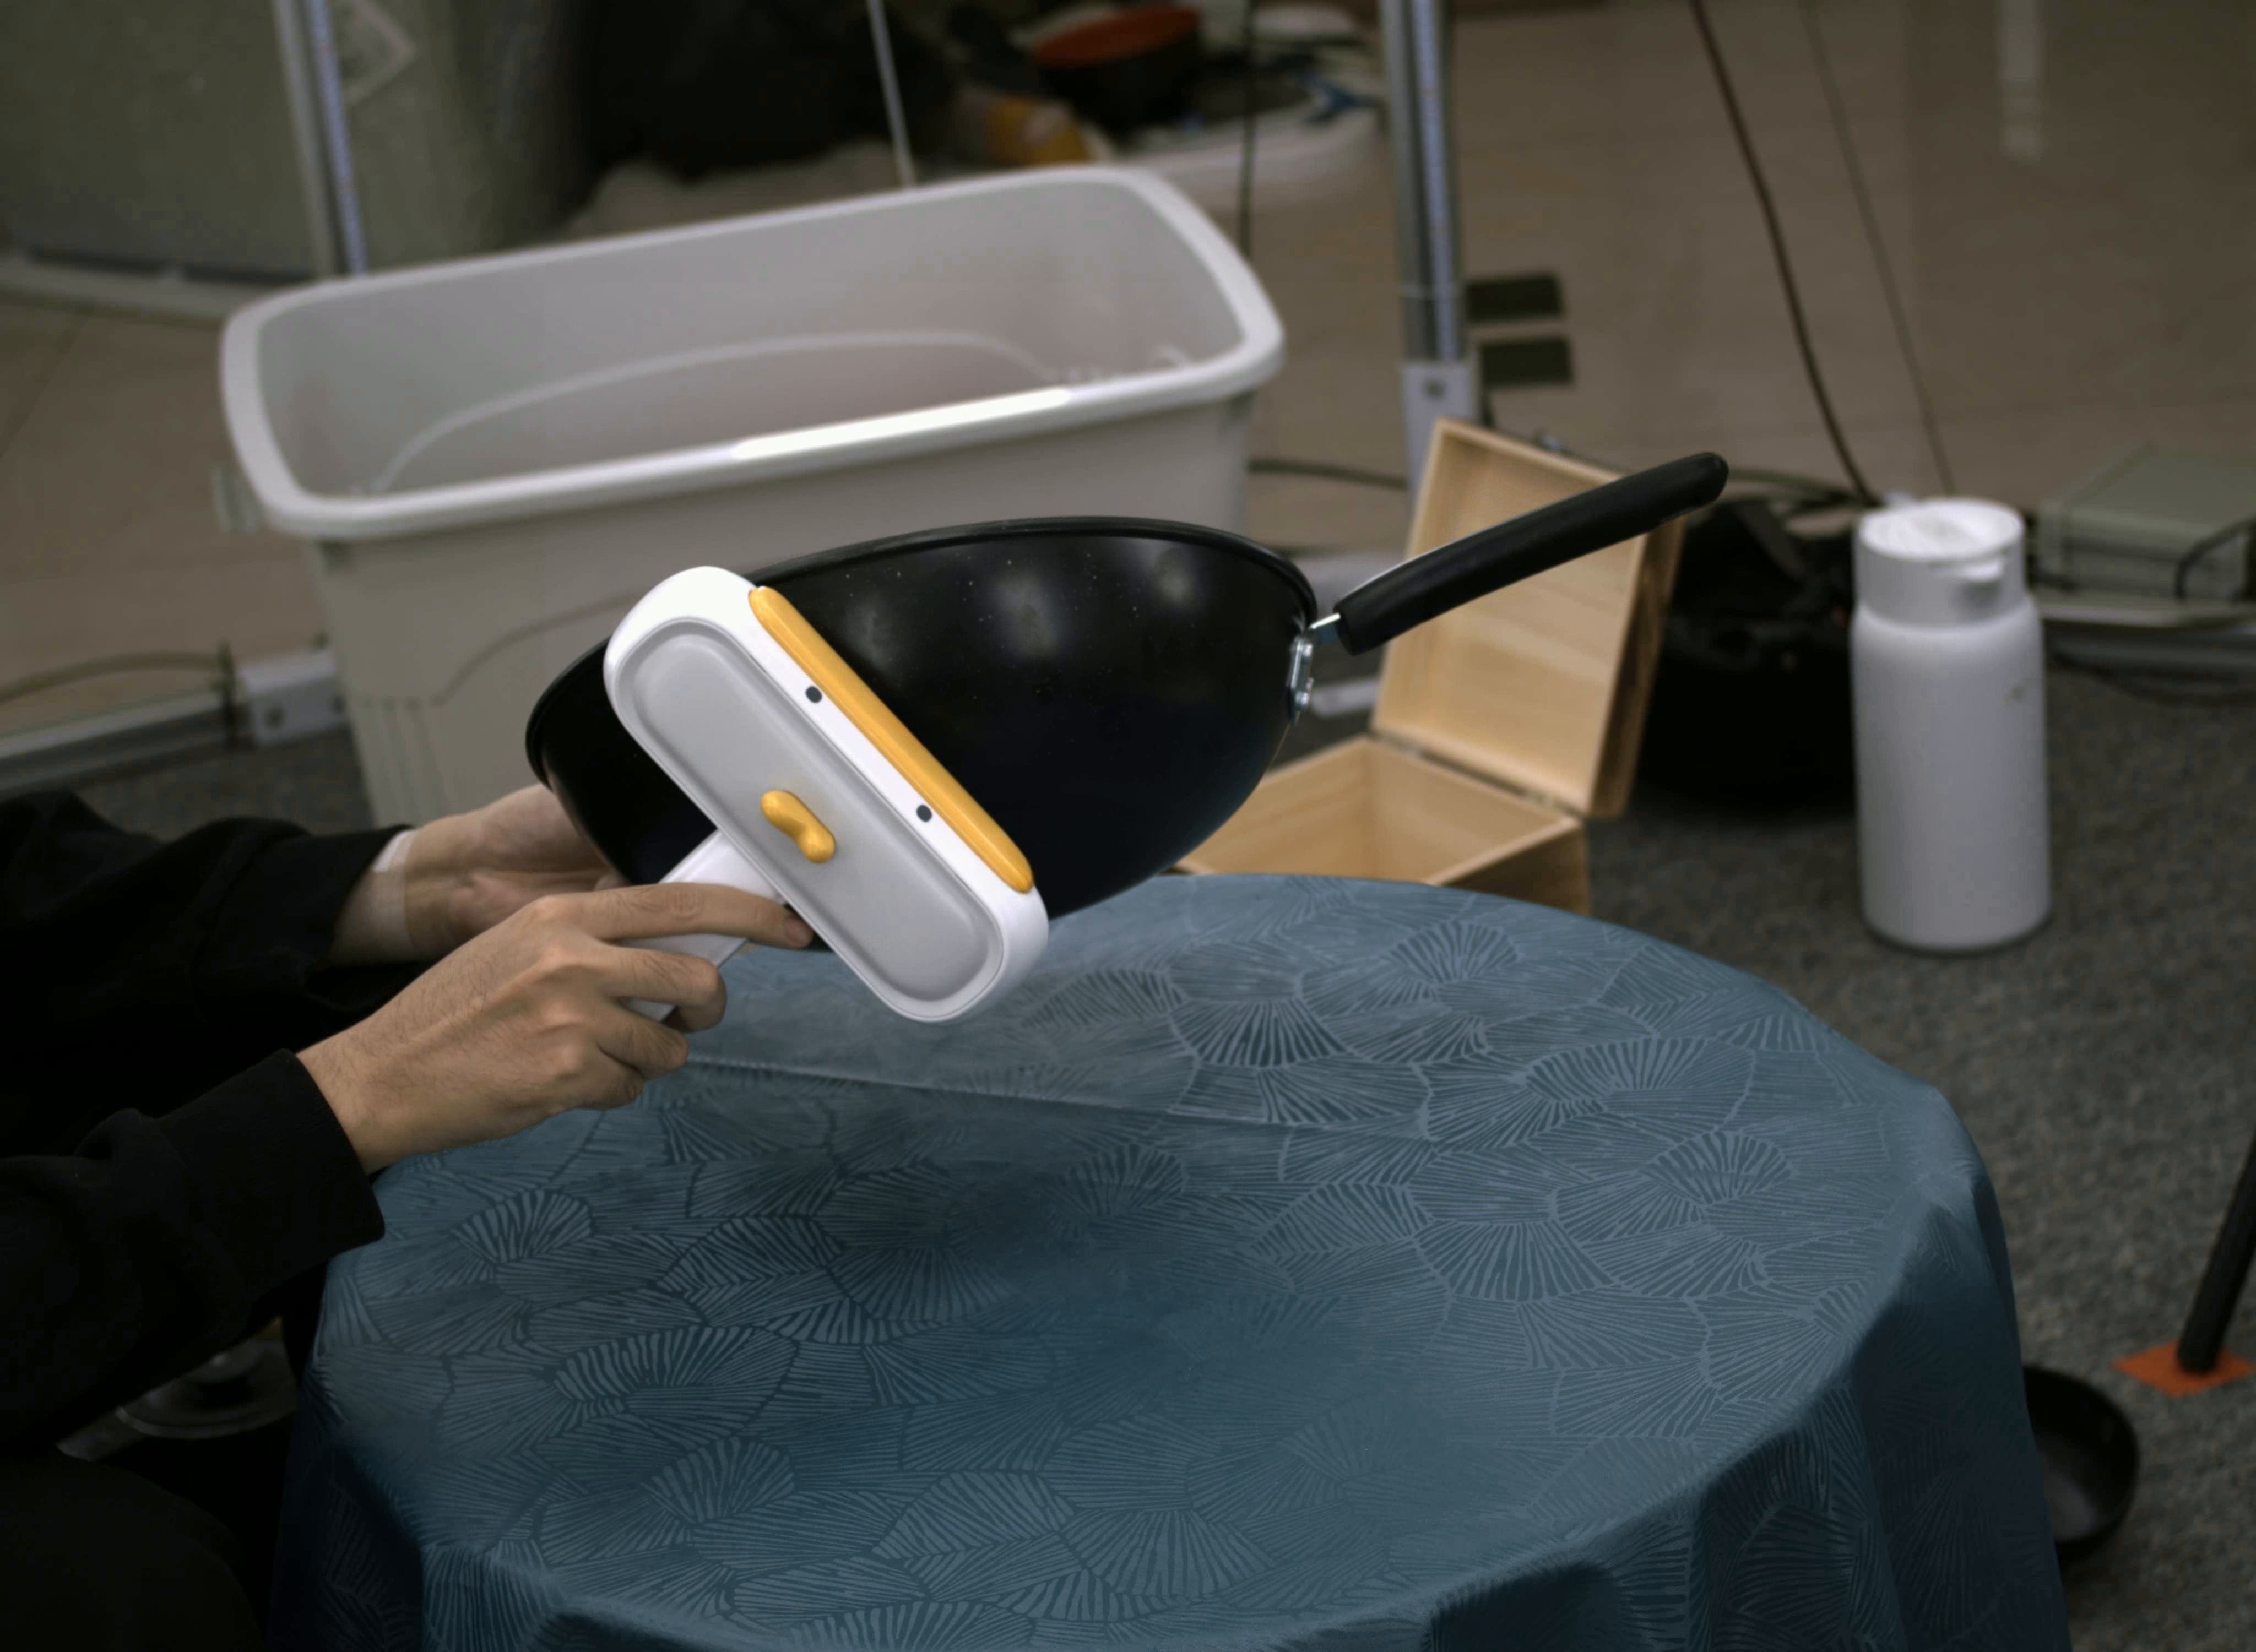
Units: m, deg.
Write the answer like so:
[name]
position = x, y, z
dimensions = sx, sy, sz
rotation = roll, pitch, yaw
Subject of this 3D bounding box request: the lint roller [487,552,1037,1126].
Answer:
[lint roller]
position = -0.154, 0.027, 2.018
dimensions = 0.193, 0.194, 0.073
rotation = -46, 11, 13

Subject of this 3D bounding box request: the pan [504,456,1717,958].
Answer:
[pan]
position = 0.002, -0.043, 2.160
dimensions = 0.476, 0.111, 0.313
rotation = -11, -16, -2
